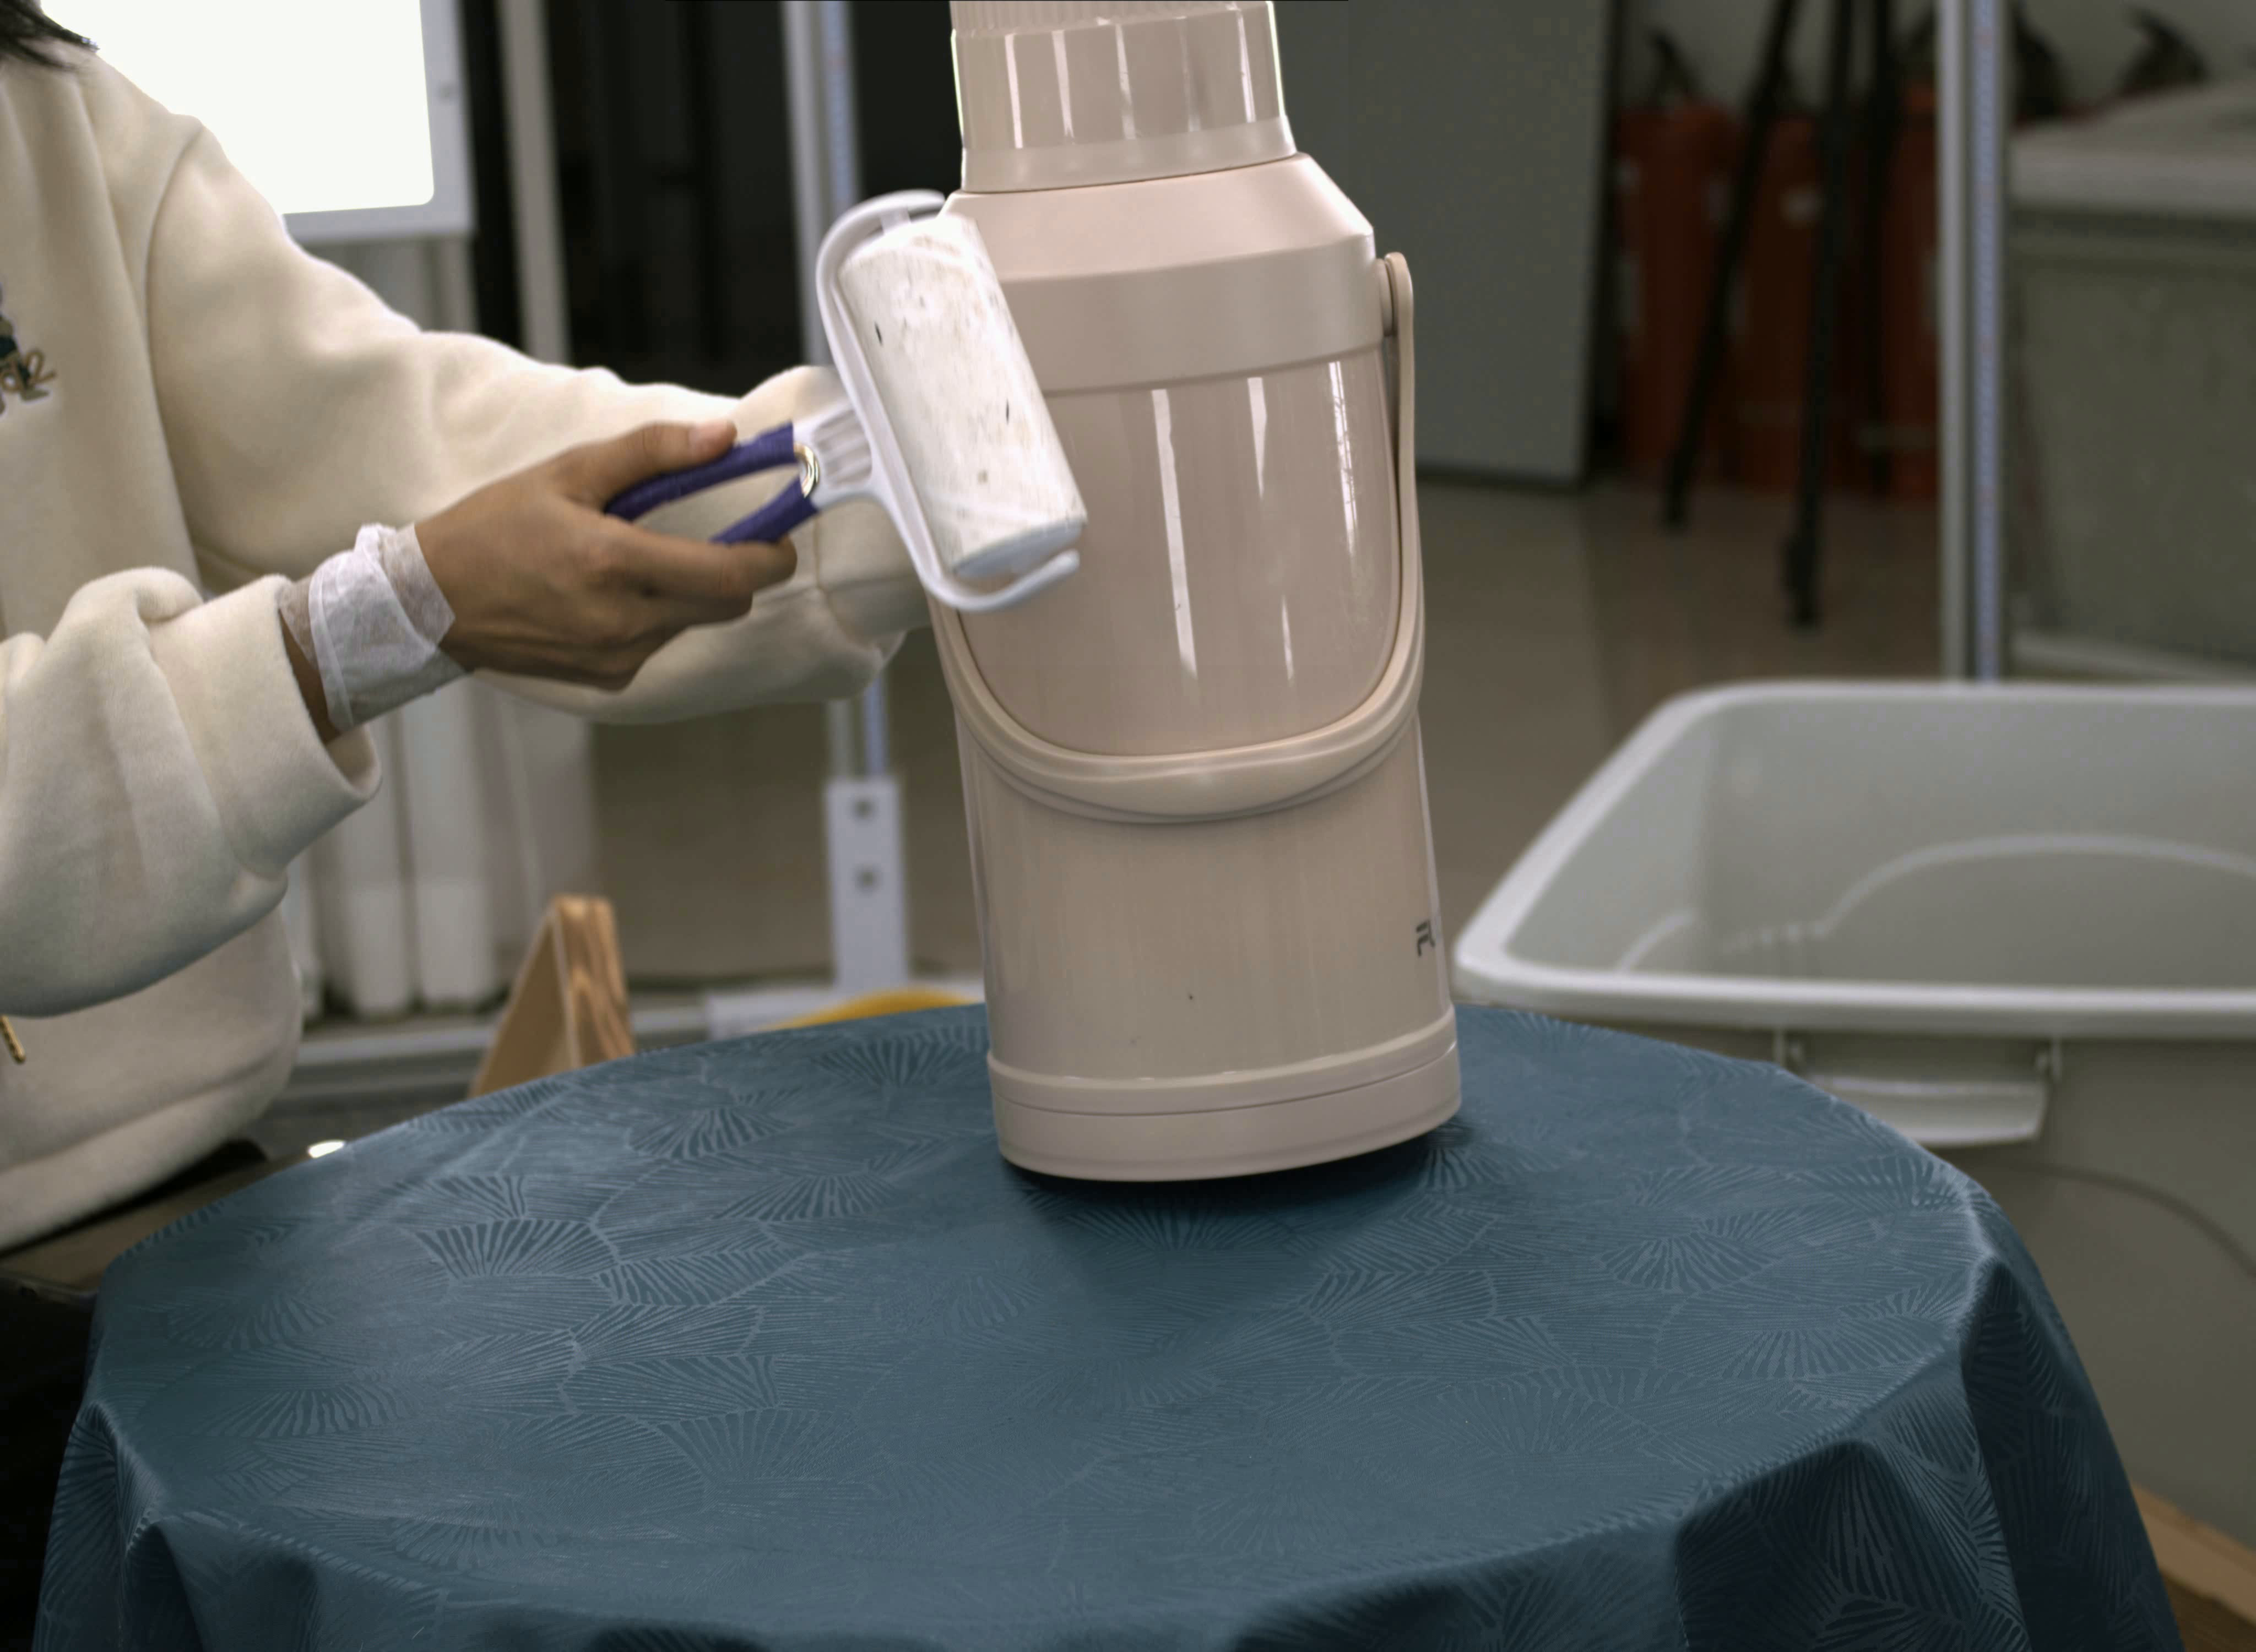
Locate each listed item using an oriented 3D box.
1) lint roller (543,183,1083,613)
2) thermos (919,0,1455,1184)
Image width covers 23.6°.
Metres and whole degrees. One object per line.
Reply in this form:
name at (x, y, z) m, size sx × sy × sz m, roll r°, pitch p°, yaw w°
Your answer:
lint roller at (-0.110, -0.110, 1.669) m, size 0.180 × 0.134 × 0.049 m, roll -20°, pitch -4°, yaw 17°
thermos at (0.013, -0.097, 1.795) m, size 0.173 × 0.411 × 0.207 m, roll -7°, pitch 8°, yaw -3°
